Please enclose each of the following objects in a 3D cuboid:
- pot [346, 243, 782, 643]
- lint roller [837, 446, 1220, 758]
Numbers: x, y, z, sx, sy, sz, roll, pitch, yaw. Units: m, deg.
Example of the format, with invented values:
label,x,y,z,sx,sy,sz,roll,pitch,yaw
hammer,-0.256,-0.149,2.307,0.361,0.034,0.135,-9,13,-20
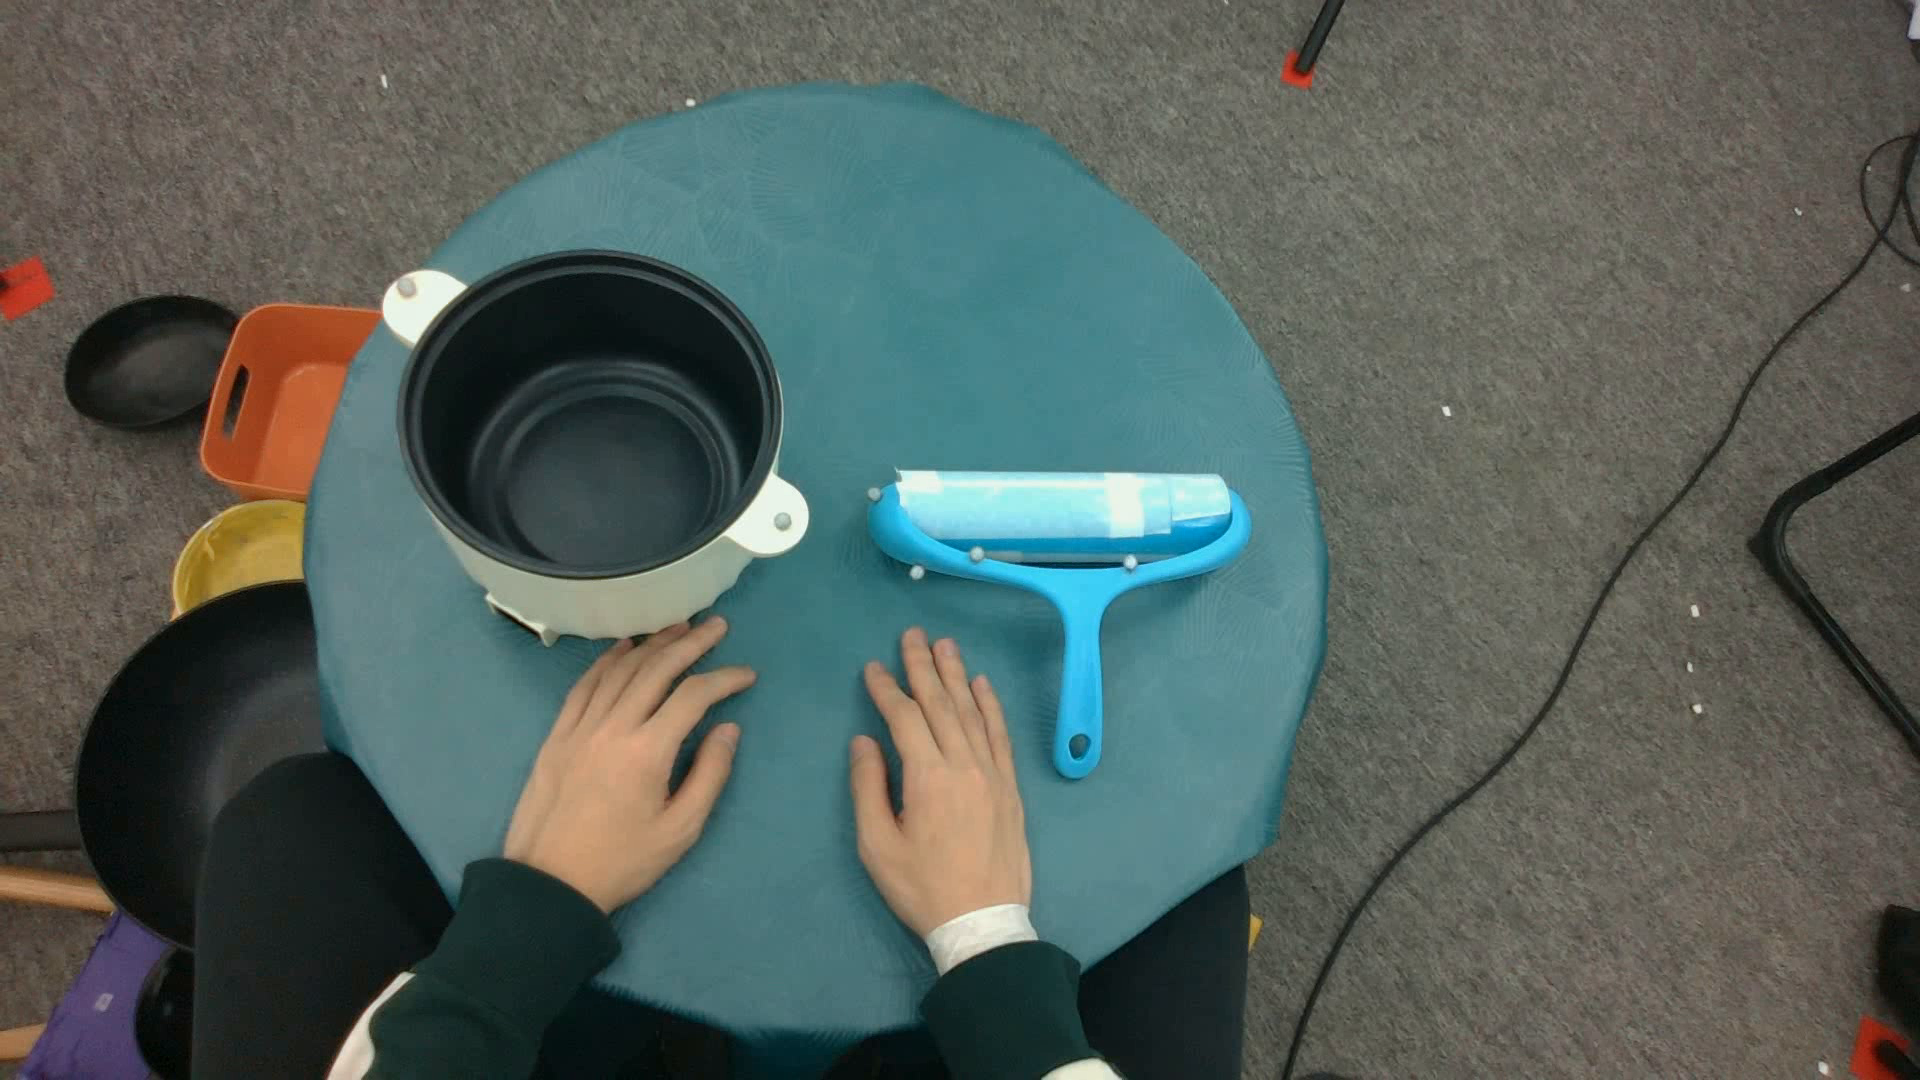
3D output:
label,x,y,z,sx,sy,sz,roll,pitch,yaw
pot,-0.202,-0.049,0.733,0.240,0.142,0.191,30,69,2
lint roller,0.051,0.029,0.791,0.229,0.067,0.181,-4,68,-14
